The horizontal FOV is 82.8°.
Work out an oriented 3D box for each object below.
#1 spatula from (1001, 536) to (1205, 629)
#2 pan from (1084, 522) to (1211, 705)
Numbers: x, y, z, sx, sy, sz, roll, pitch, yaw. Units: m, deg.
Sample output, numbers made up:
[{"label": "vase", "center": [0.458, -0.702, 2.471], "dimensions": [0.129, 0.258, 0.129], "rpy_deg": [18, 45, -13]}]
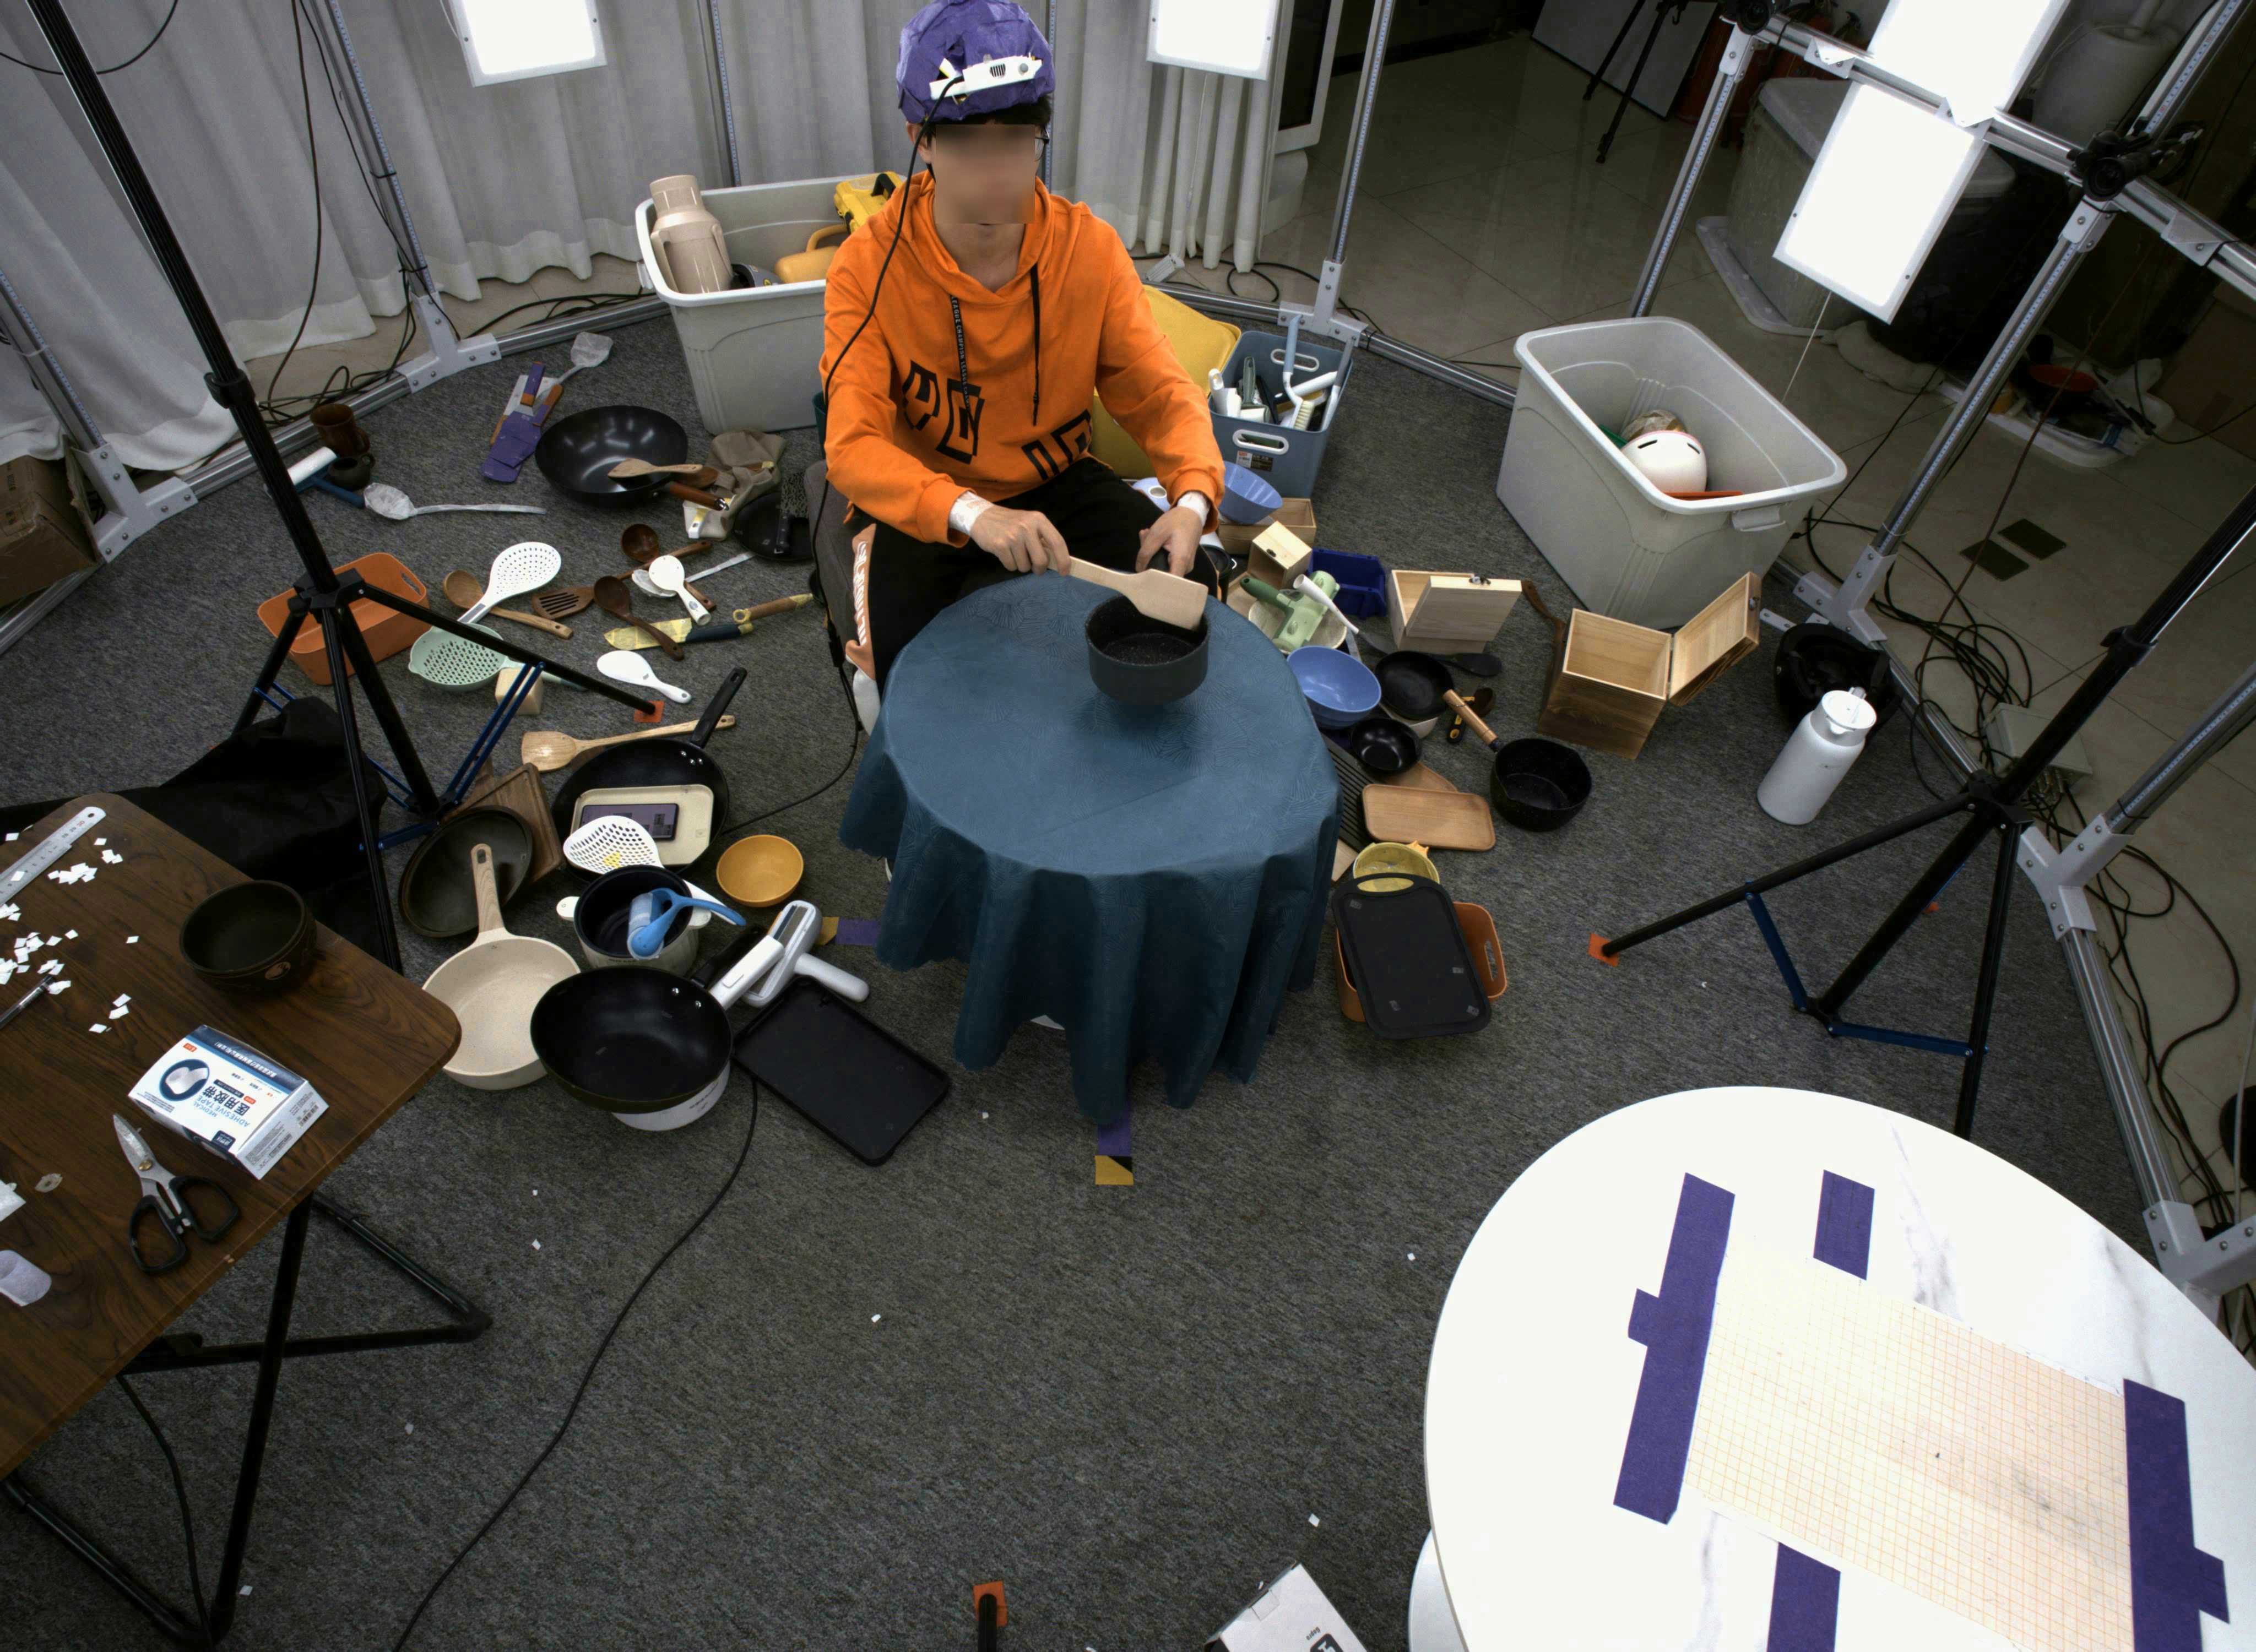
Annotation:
[{"label": "spatula", "center": [-0.038, -0.343, 1.759], "dimensions": [0.294, 0.070, 0.011], "rpy_deg": [20, 38, 8]}, {"label": "pan", "center": [0.039, -0.302, 1.809], "dimensions": [0.172, 0.084, 0.336], "rpy_deg": [5, 46, 7]}]
